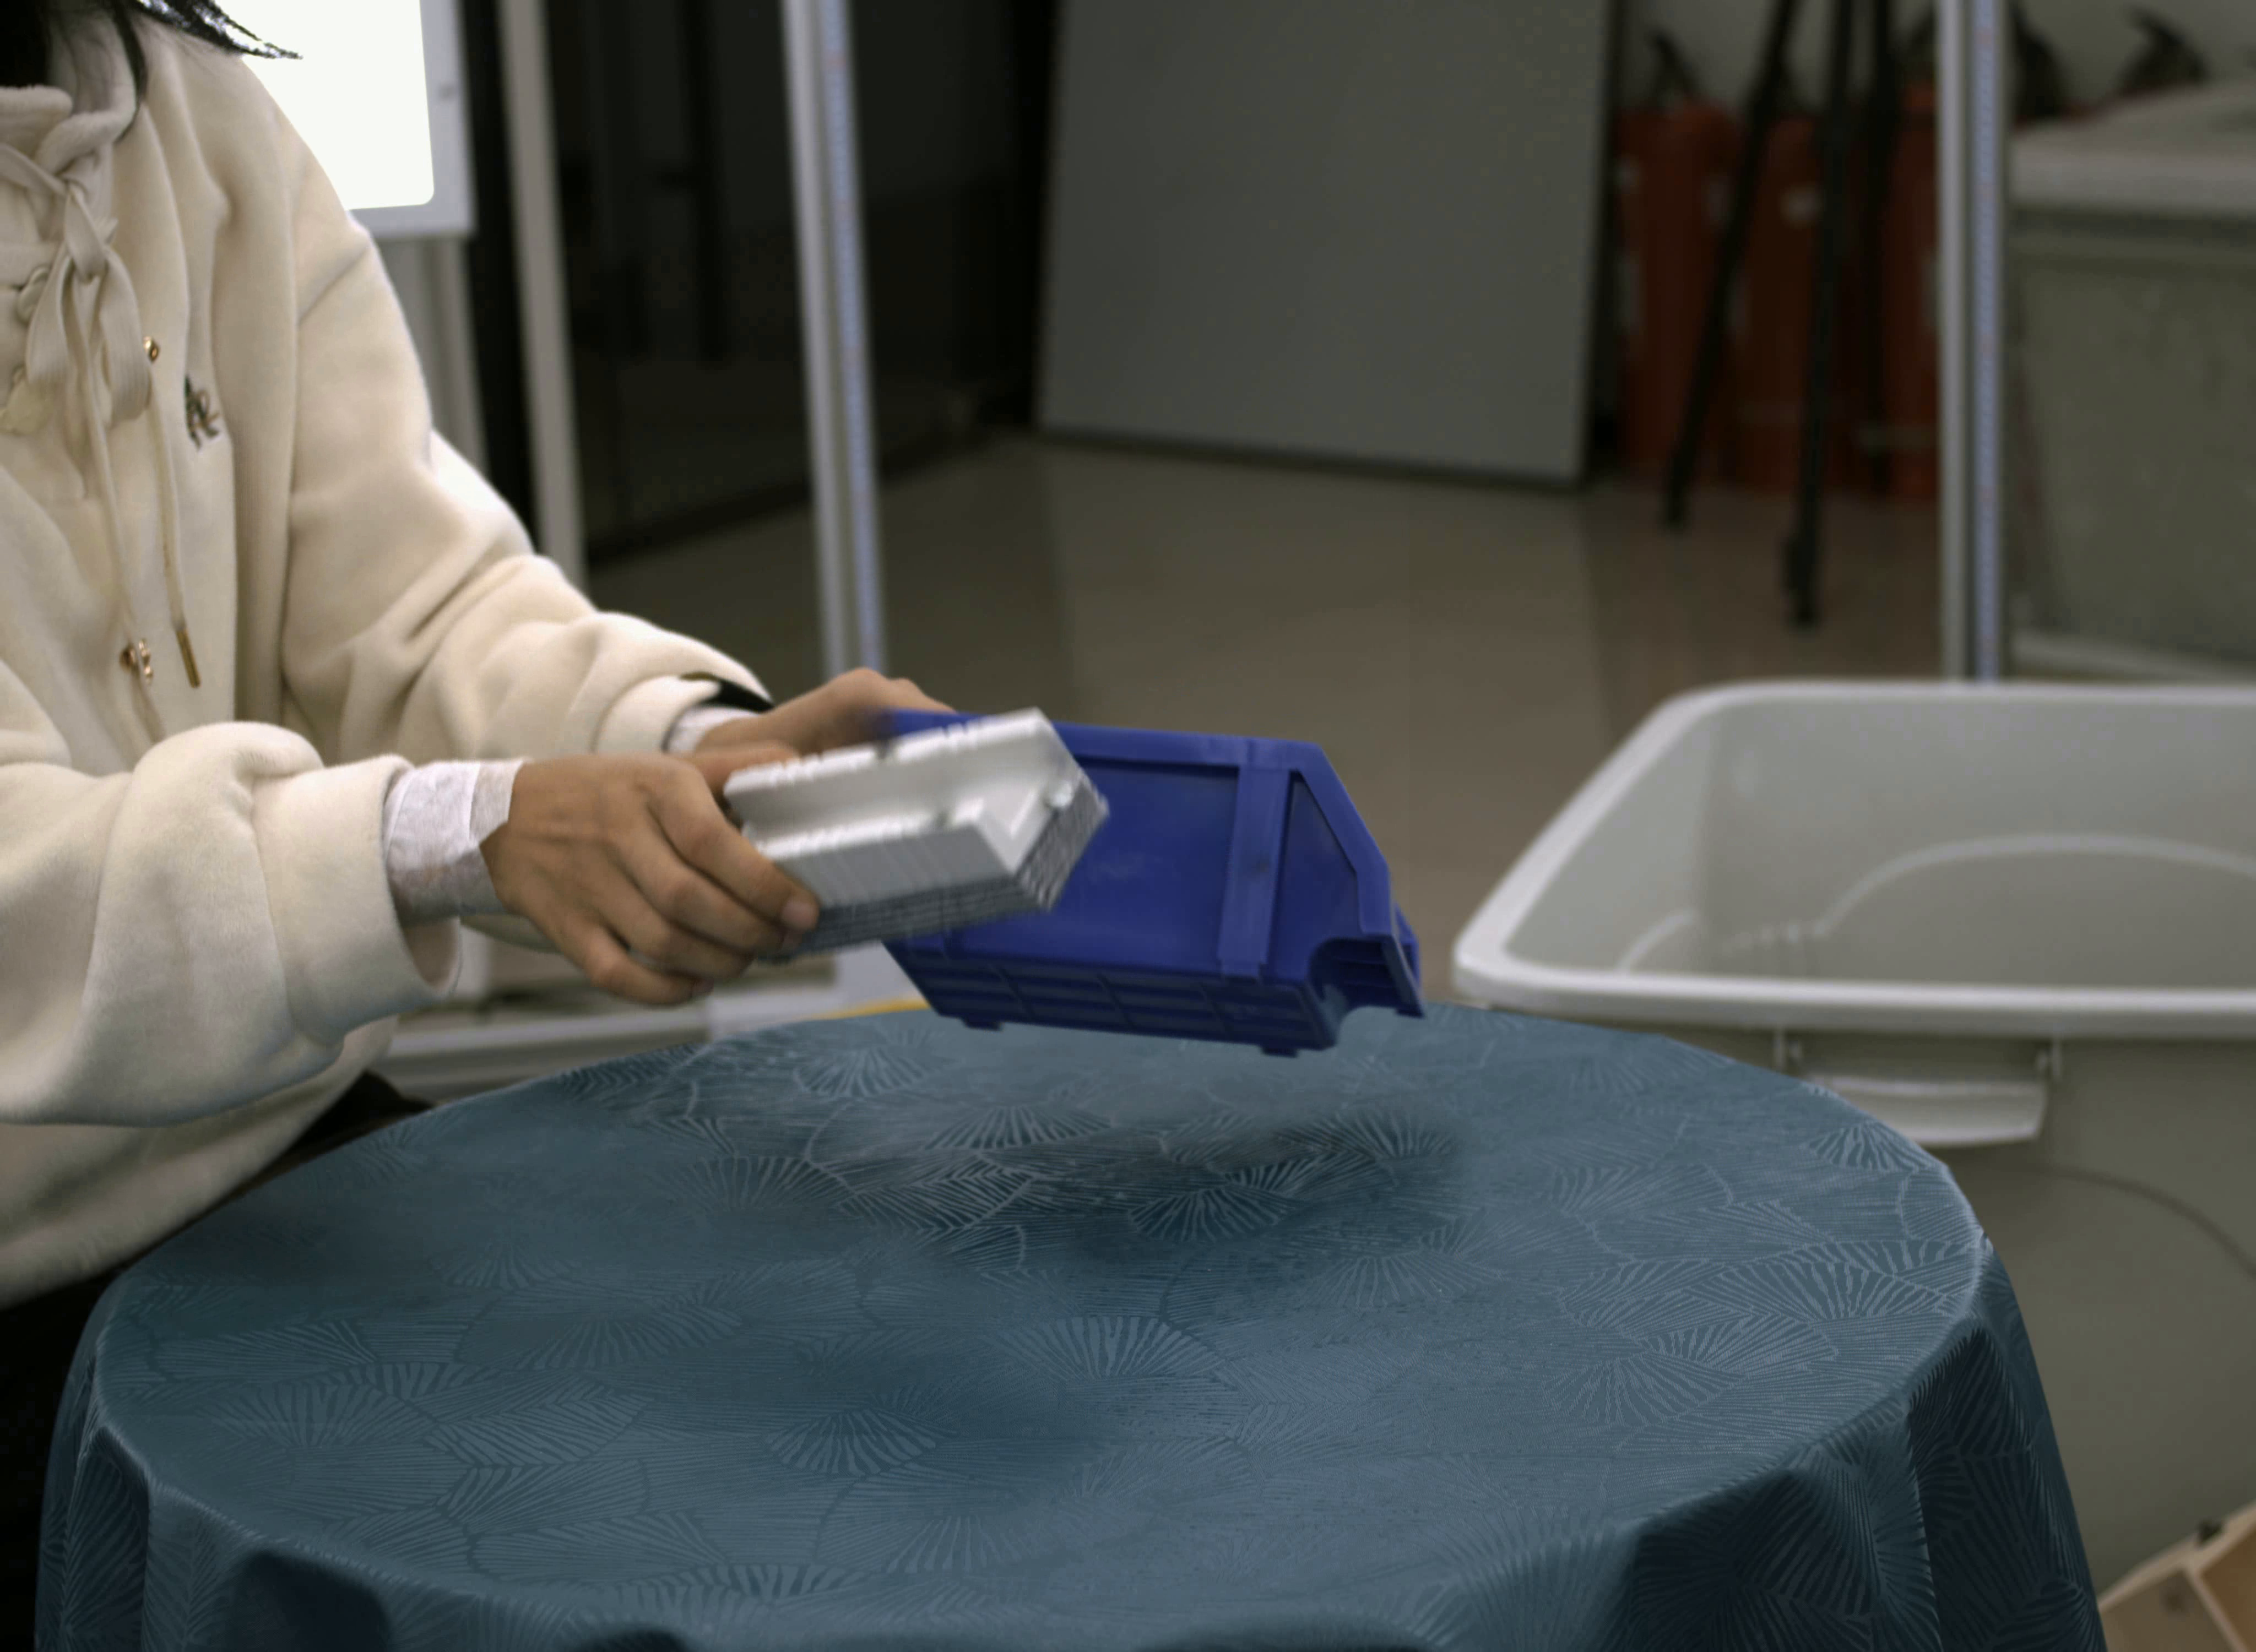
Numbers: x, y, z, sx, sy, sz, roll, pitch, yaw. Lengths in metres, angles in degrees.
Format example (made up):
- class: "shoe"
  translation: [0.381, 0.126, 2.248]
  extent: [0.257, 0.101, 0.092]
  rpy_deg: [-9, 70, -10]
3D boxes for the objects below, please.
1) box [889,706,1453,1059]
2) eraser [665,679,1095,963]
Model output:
- class: "box"
  translation: [0.016, 0.021, 1.788]
  extent: [0.178, 0.083, 0.124]
  rpy_deg: [2, -17, 12]
- class: "eraser"
  translation: [-0.076, 0.000, 1.648]
  extent: [0.135, 0.046, 0.050]
  rpy_deg: [-14, 38, 40]
